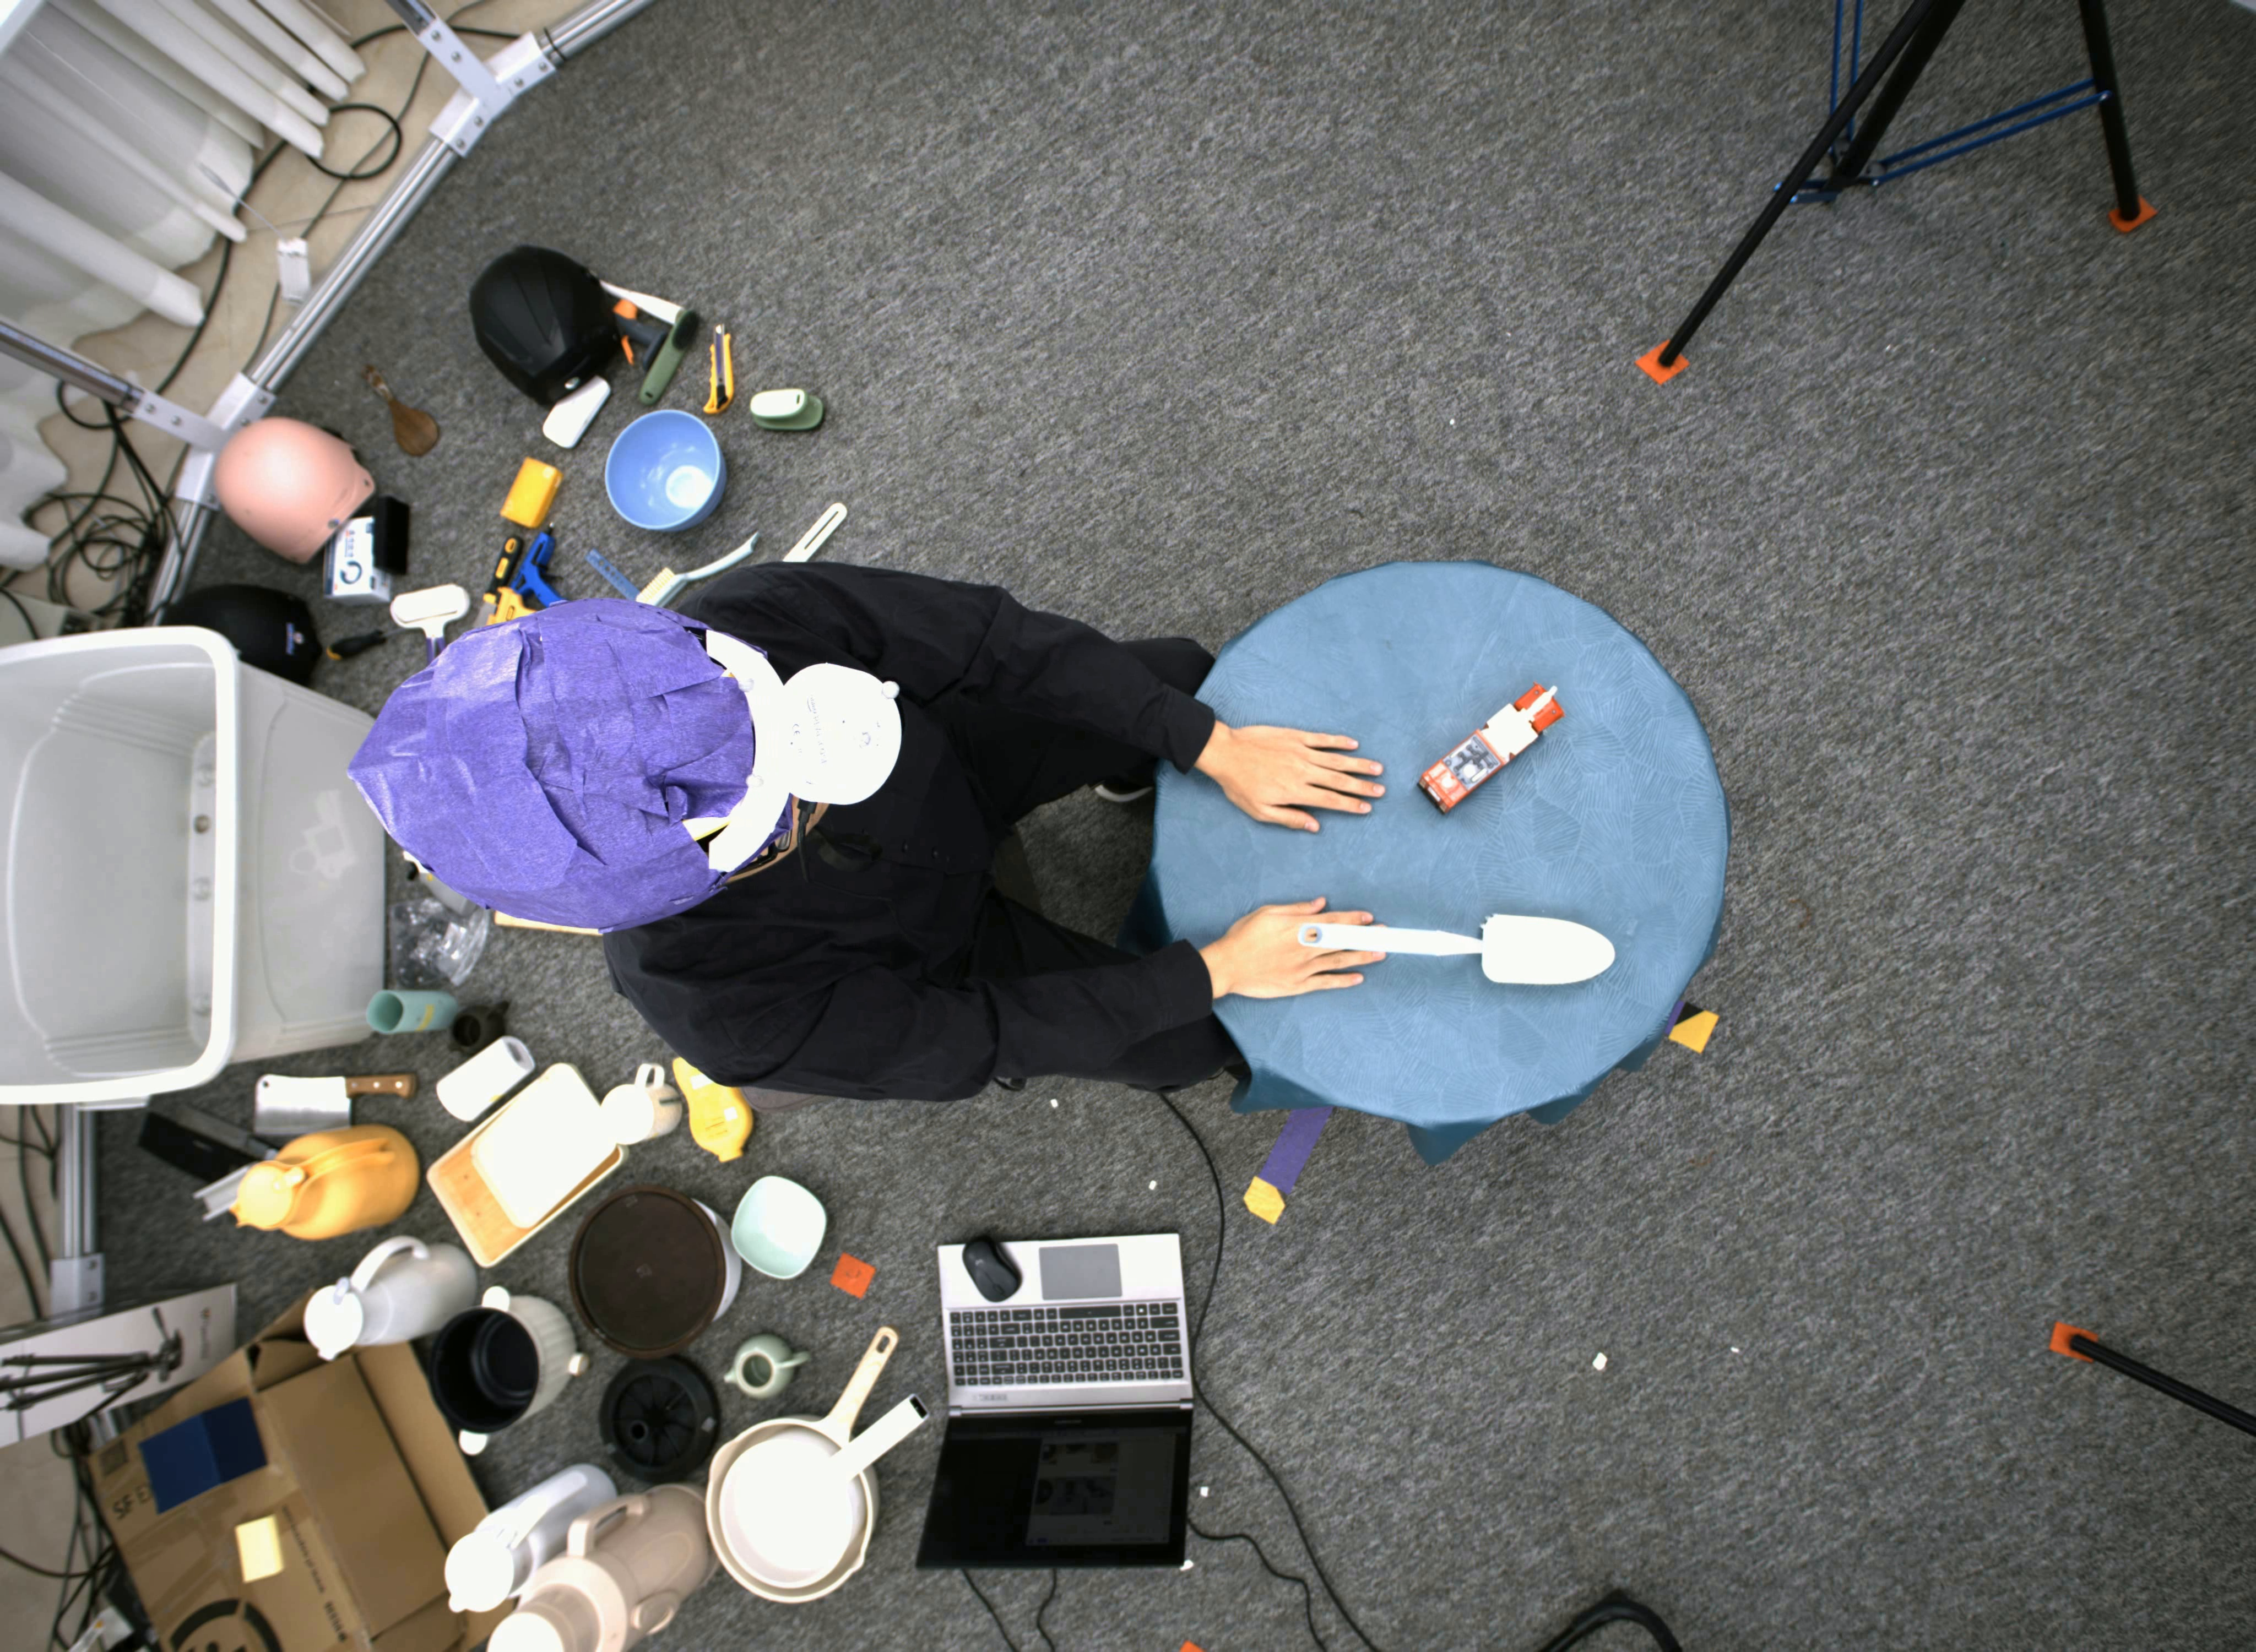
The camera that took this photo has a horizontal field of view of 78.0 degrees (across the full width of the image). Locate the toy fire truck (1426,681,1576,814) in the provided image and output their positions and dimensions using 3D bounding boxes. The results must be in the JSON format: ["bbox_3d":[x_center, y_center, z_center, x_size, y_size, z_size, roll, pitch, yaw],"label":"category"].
[{"bbox_3d":[0.386,-0.085,1.415,0.169,0.070,0.053,-41,79,6],"label":"toy fire truck"}]

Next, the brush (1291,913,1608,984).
[{"bbox_3d":[0.323,0.114,1.405,0.326,0.087,0.081,4,49,-1],"label":"brush"}]
